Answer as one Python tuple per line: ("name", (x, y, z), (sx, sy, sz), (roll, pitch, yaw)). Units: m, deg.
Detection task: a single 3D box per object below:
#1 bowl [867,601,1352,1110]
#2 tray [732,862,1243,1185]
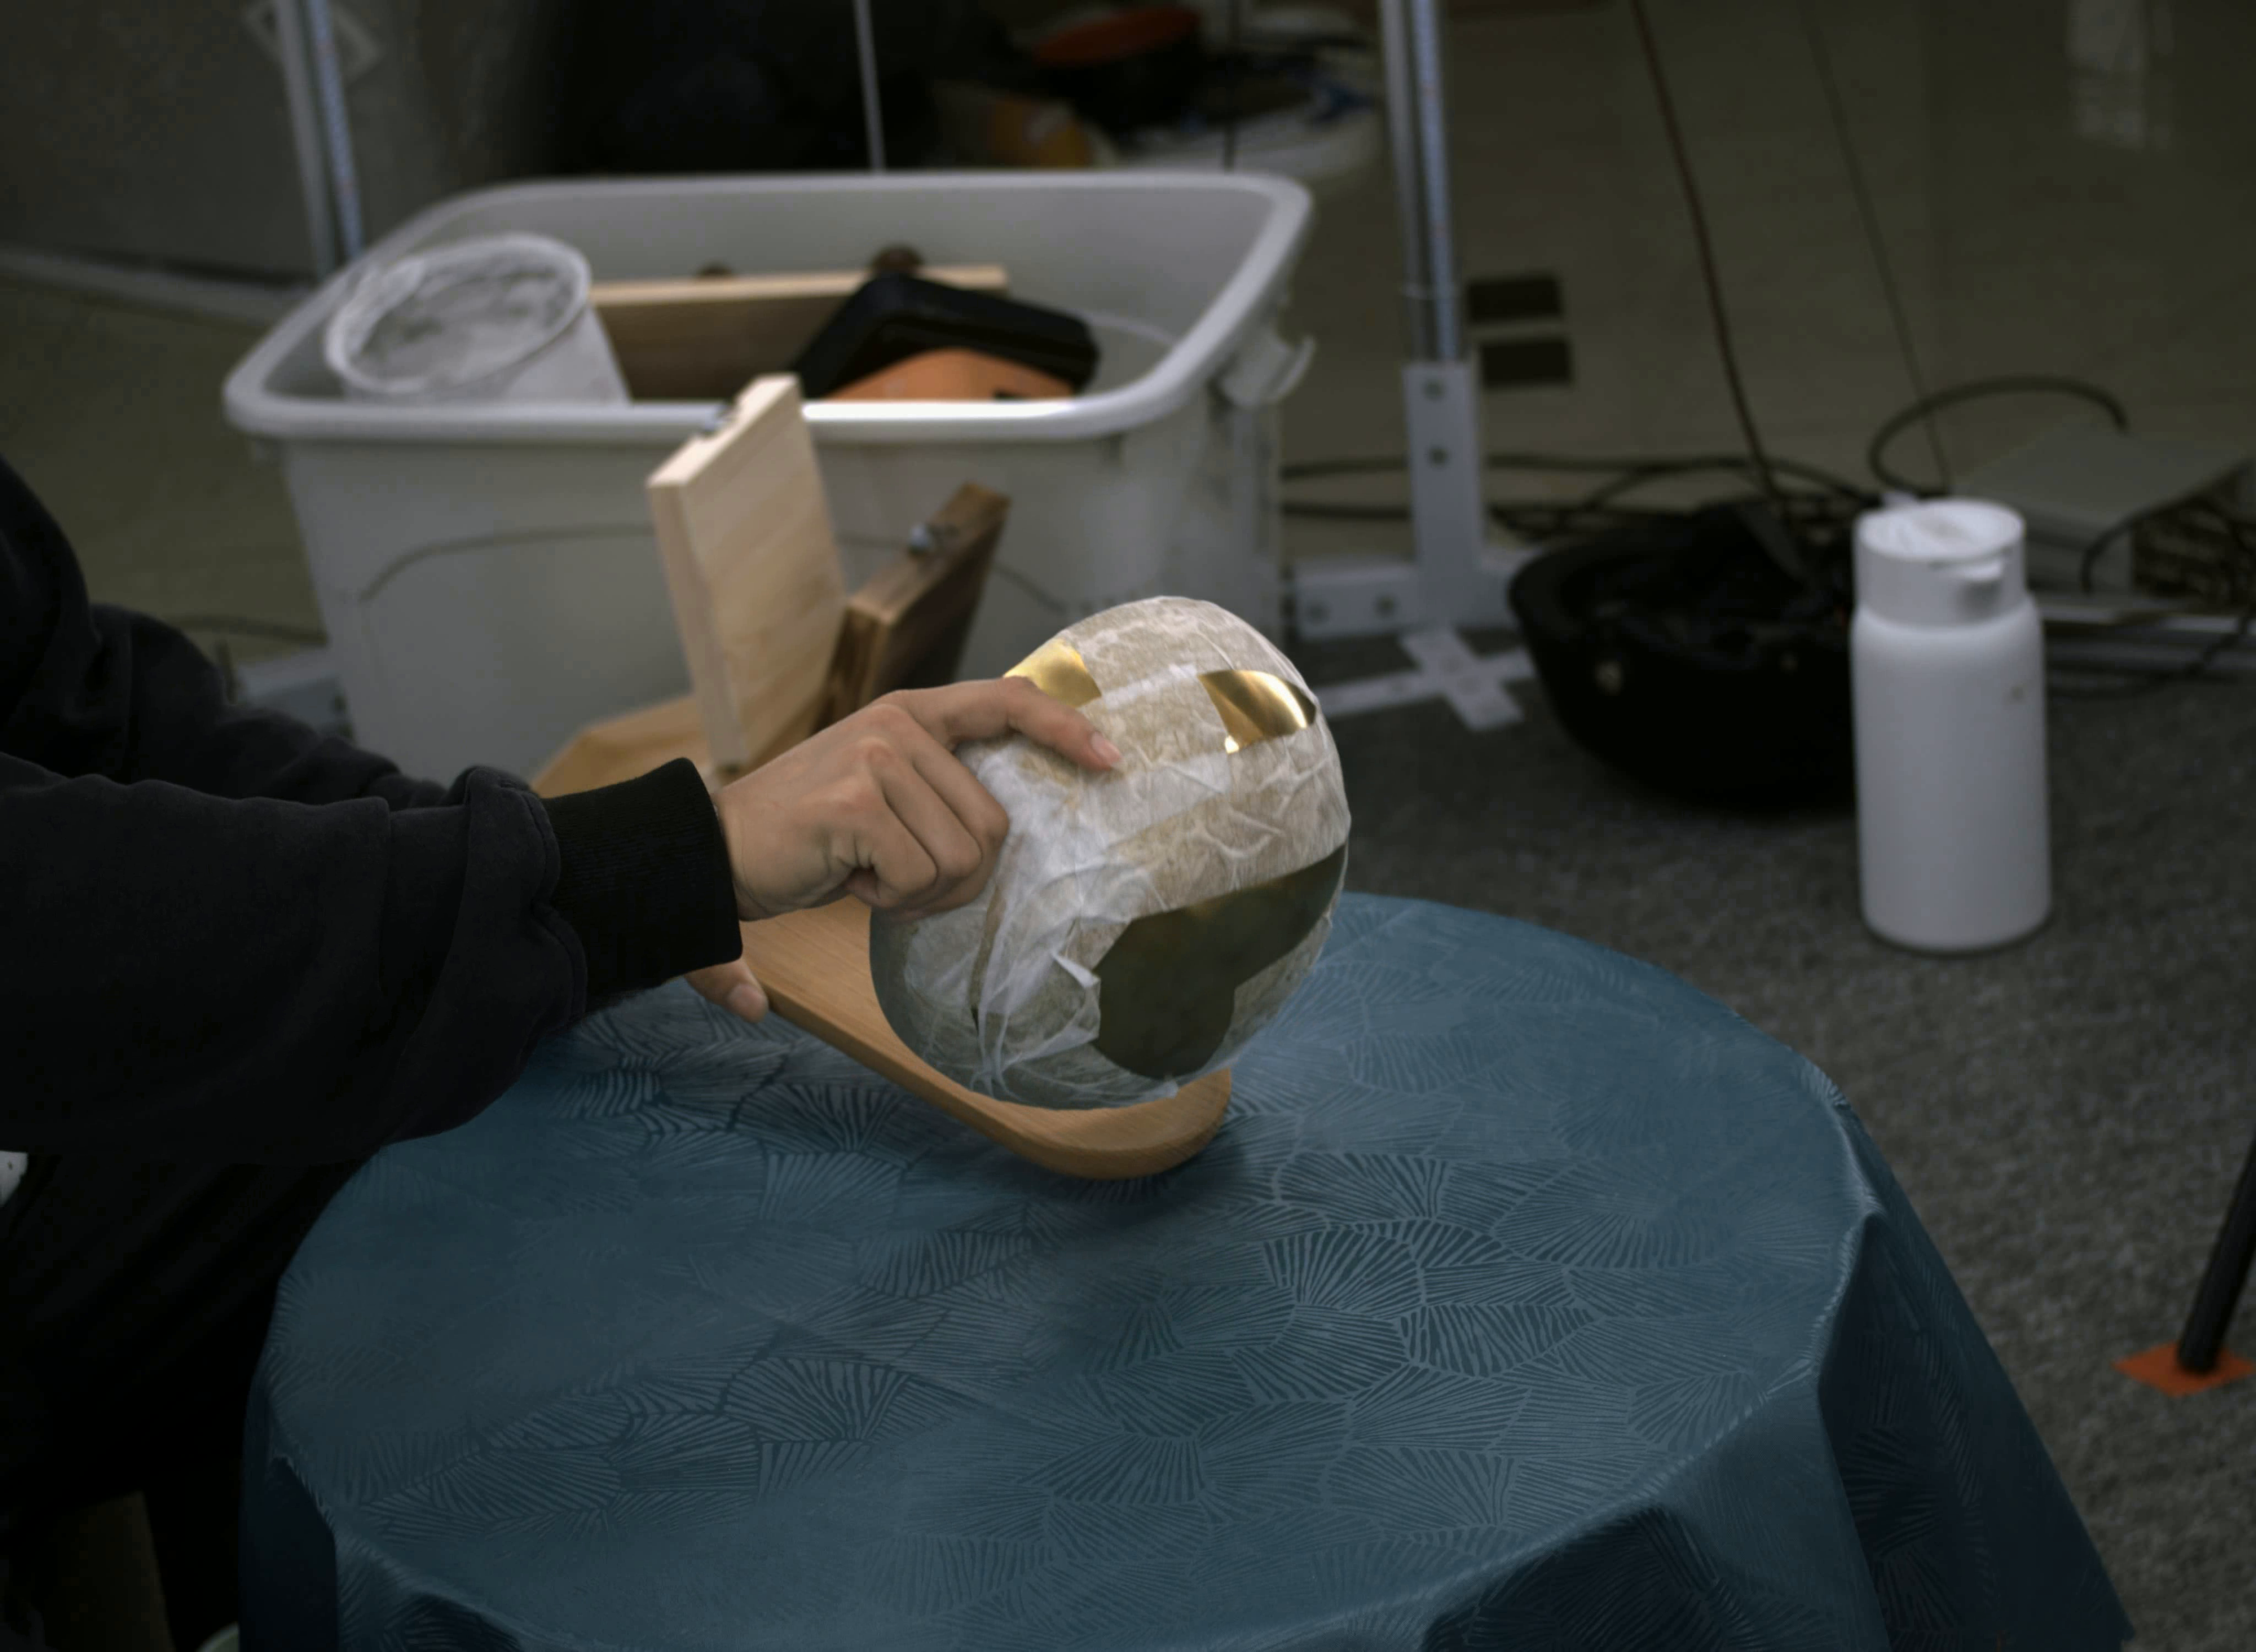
("bowl", (0.009, 0.030, 2.072), (0.213, 0.219, 0.093), (-23, 47, -33))
("tray", (-0.057, 0.076, 2.220), (0.229, 0.021, 0.100), (29, 45, 27))
